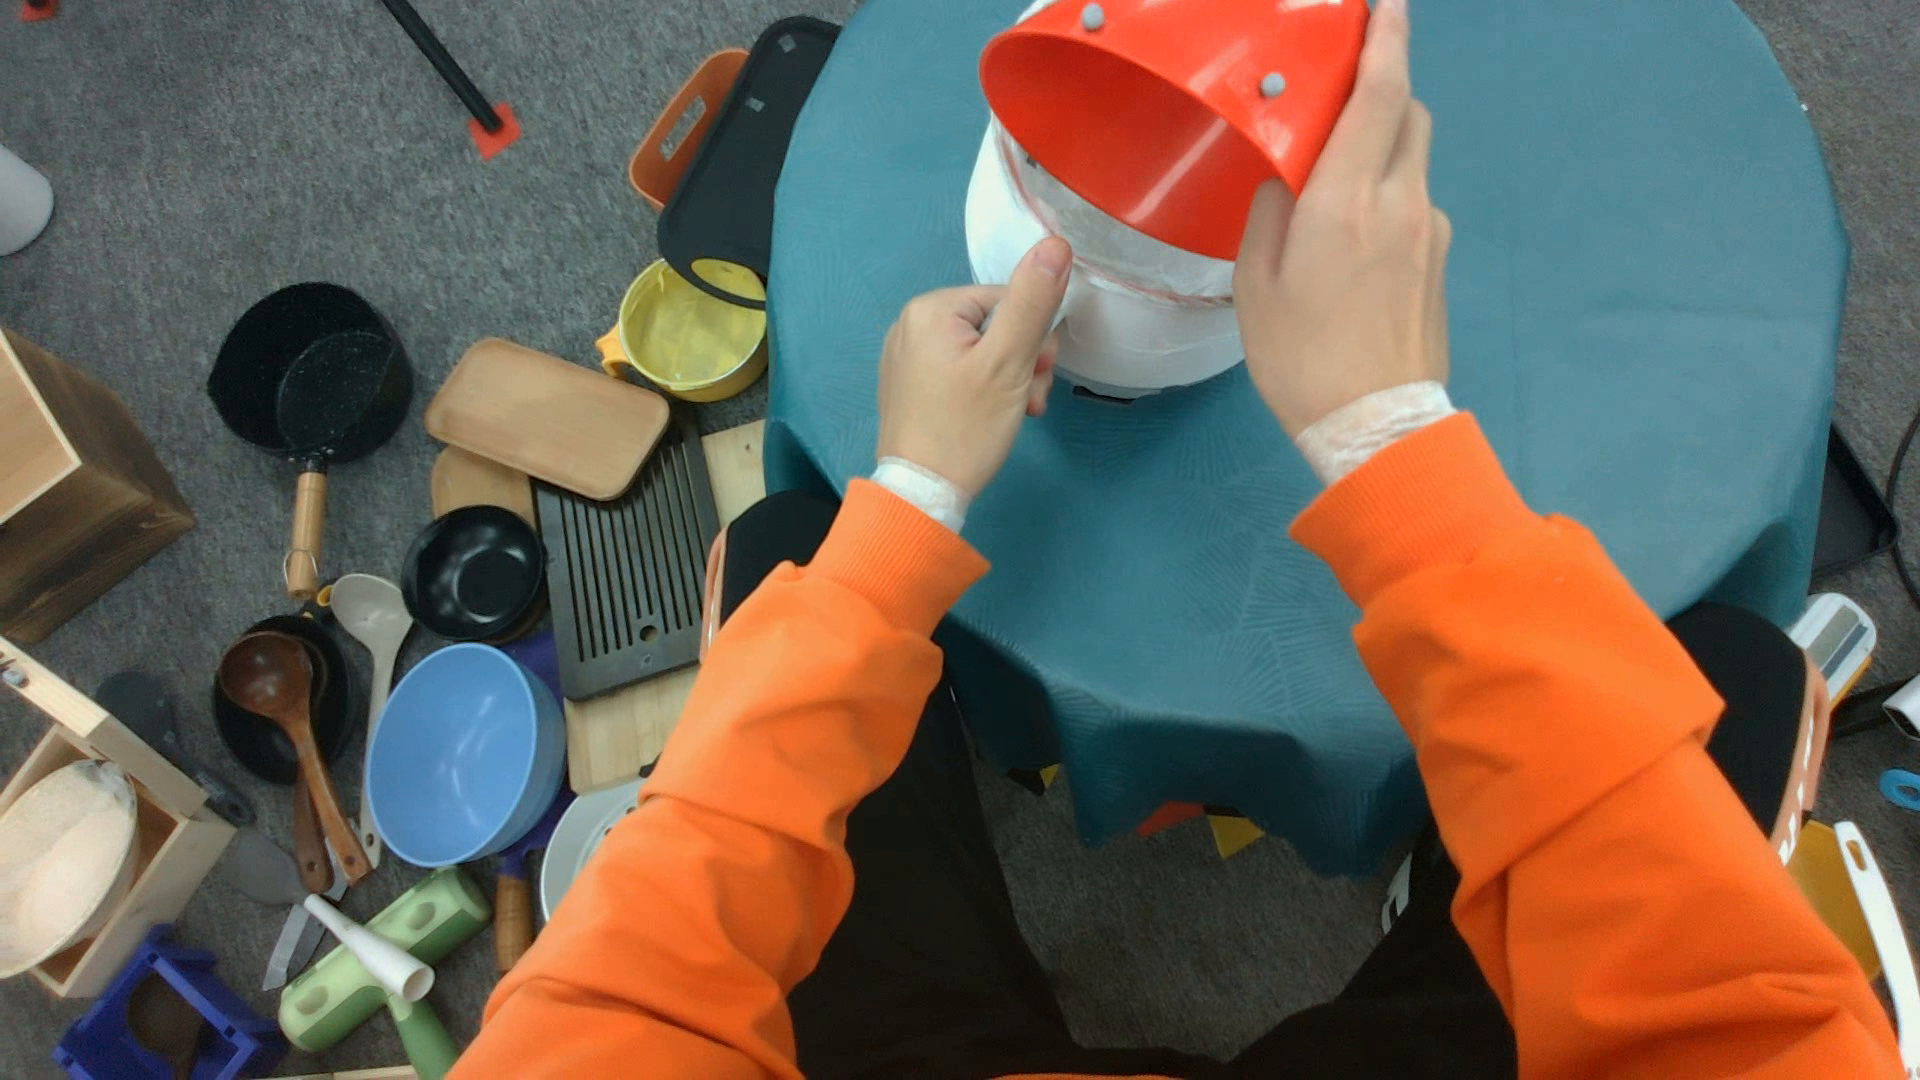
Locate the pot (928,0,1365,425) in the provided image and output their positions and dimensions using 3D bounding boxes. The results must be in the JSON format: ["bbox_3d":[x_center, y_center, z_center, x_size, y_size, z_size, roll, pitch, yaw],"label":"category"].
[{"bbox_3d":[0.072,-0.158,0.666,0.179,0.136,0.234,38,74,3],"label":"pot"}]

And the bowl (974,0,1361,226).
[{"bbox_3d":[0.094,-0.203,0.559,0.148,0.148,0.104,38,89,16],"label":"bowl"}]
